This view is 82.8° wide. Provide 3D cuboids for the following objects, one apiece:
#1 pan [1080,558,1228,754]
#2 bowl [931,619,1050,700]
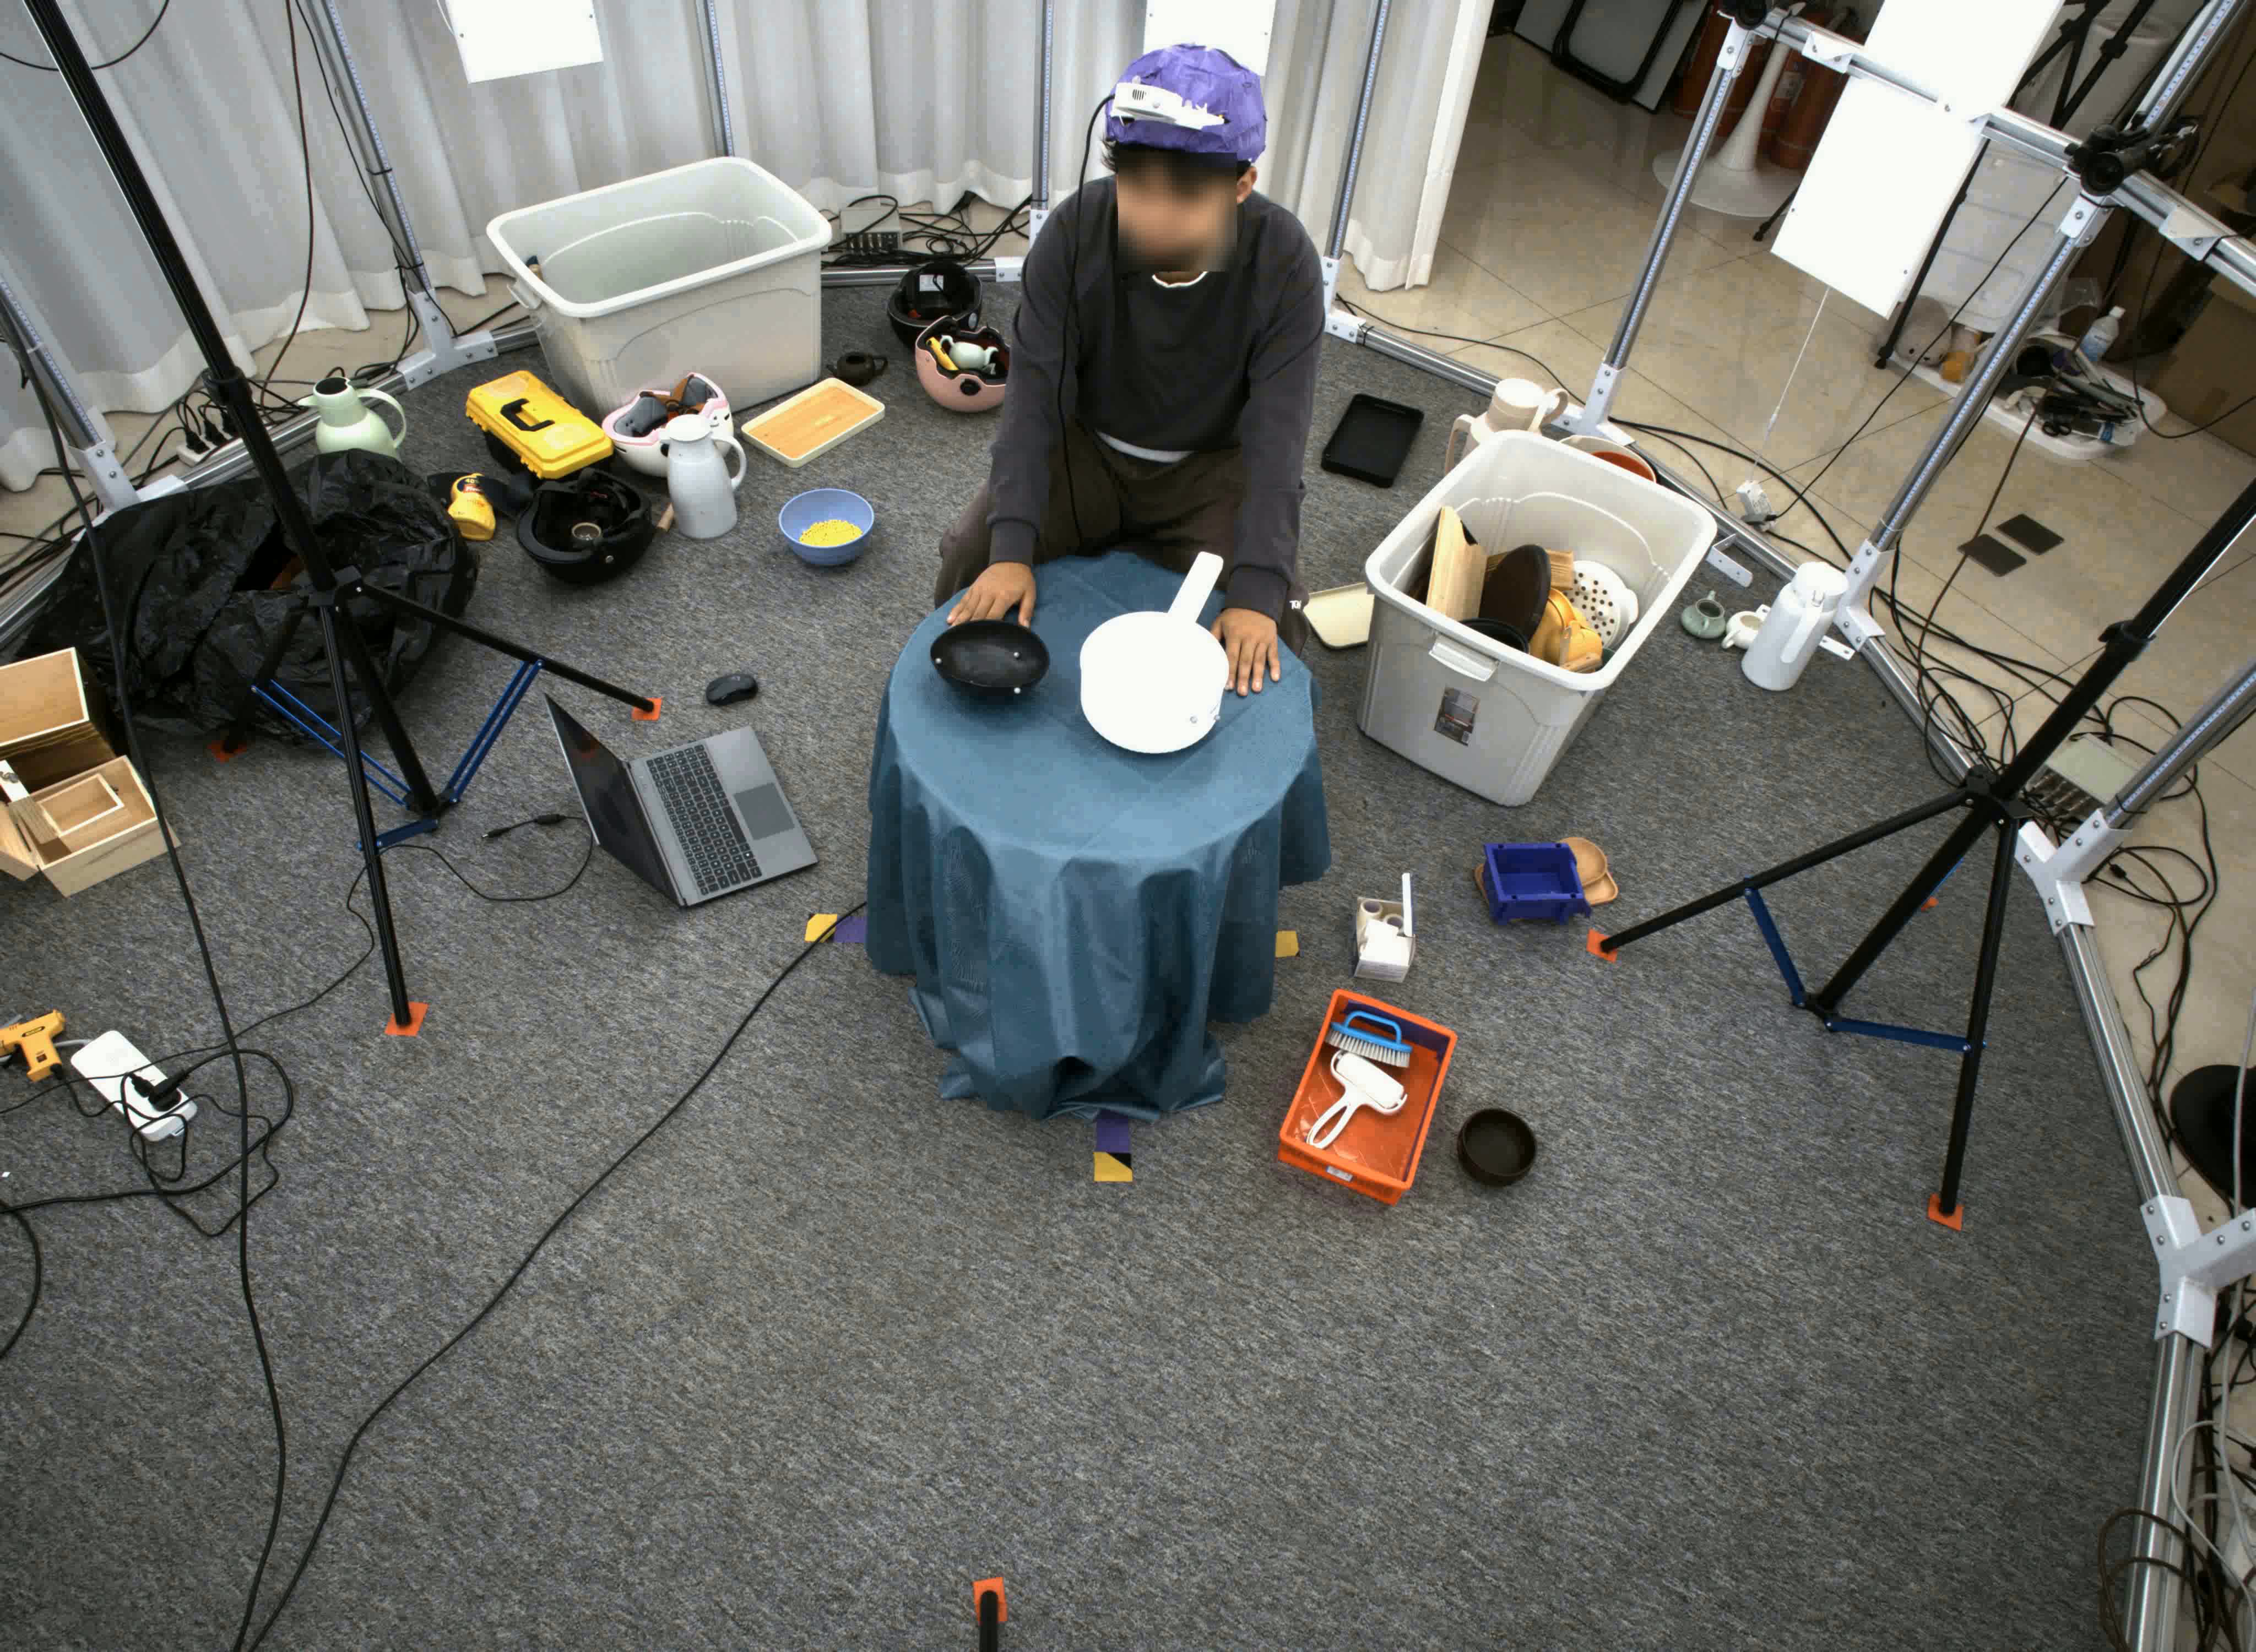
[{"bbox_3d":[0.059,-0.243,1.824,0.202,0.099,0.362,16,48,12],"label":"pan"},{"bbox_3d":[-0.193,-0.222,1.801,0.170,0.065,0.140,12,49,7],"label":"bowl"}]
